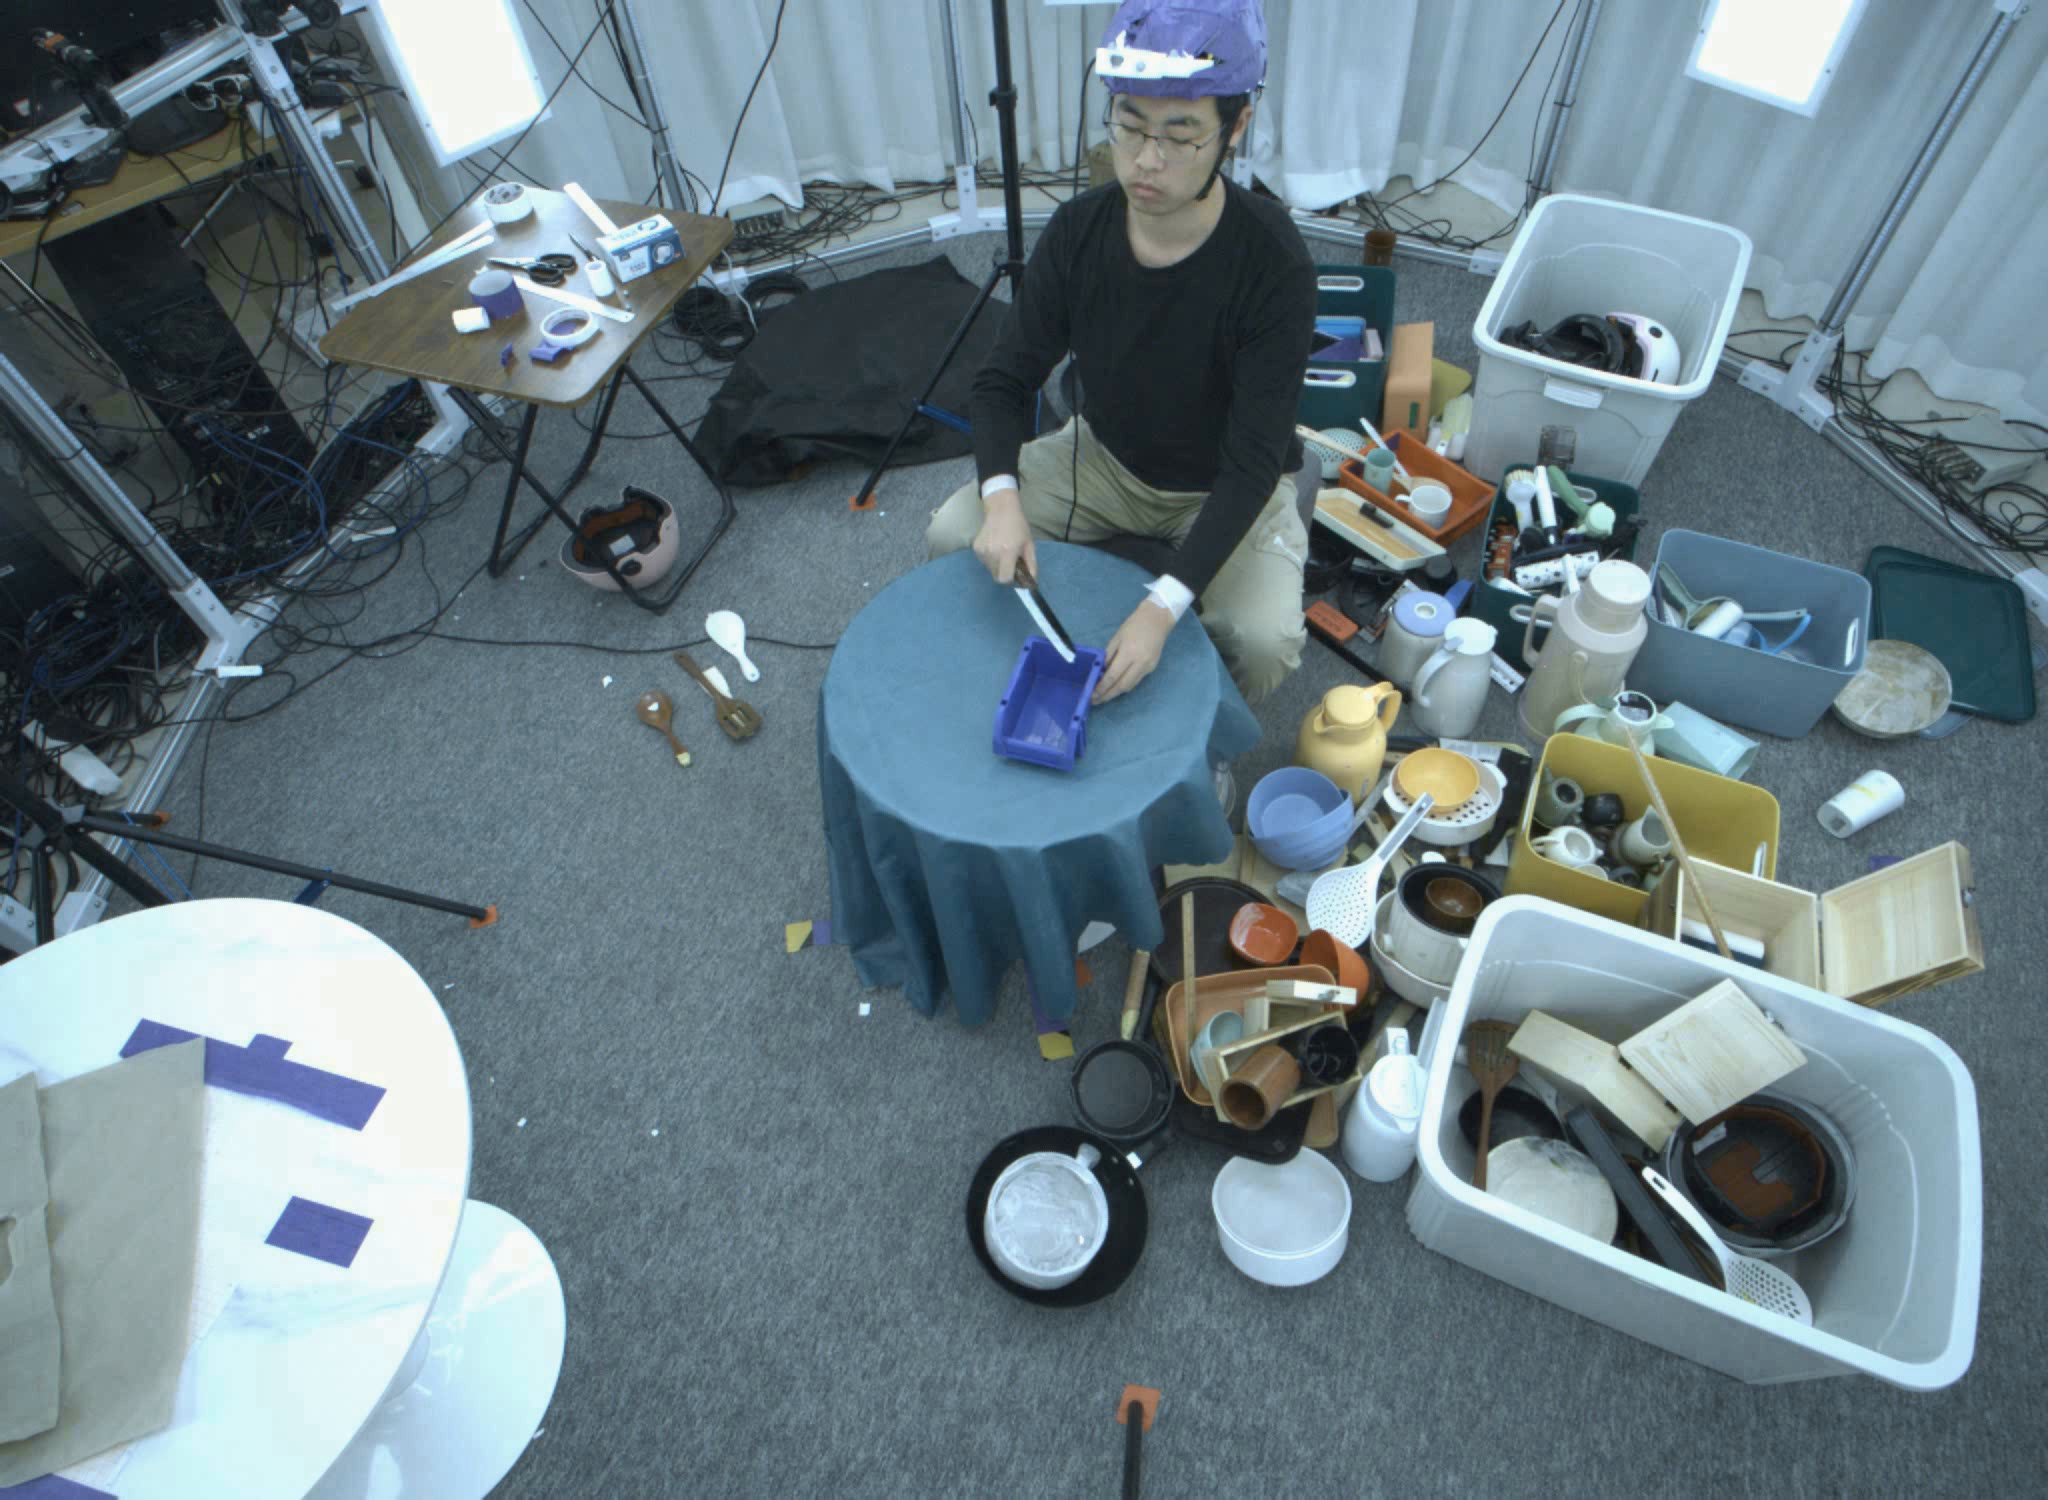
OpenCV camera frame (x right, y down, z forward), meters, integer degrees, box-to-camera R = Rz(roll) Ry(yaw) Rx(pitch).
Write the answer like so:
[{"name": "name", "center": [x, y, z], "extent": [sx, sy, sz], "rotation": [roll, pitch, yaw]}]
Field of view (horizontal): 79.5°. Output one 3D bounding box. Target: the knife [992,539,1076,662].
[{"name": "knife", "center": [0.012, -0.226, 1.841], "extent": [0.051, 0.020, 0.283], "rotation": [2, 45, -34]}]

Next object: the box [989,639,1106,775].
[{"name": "box", "center": [0.037, -0.058, 1.778], "extent": [0.123, 0.083, 0.179], "rotation": [15, 54, 12]}]
